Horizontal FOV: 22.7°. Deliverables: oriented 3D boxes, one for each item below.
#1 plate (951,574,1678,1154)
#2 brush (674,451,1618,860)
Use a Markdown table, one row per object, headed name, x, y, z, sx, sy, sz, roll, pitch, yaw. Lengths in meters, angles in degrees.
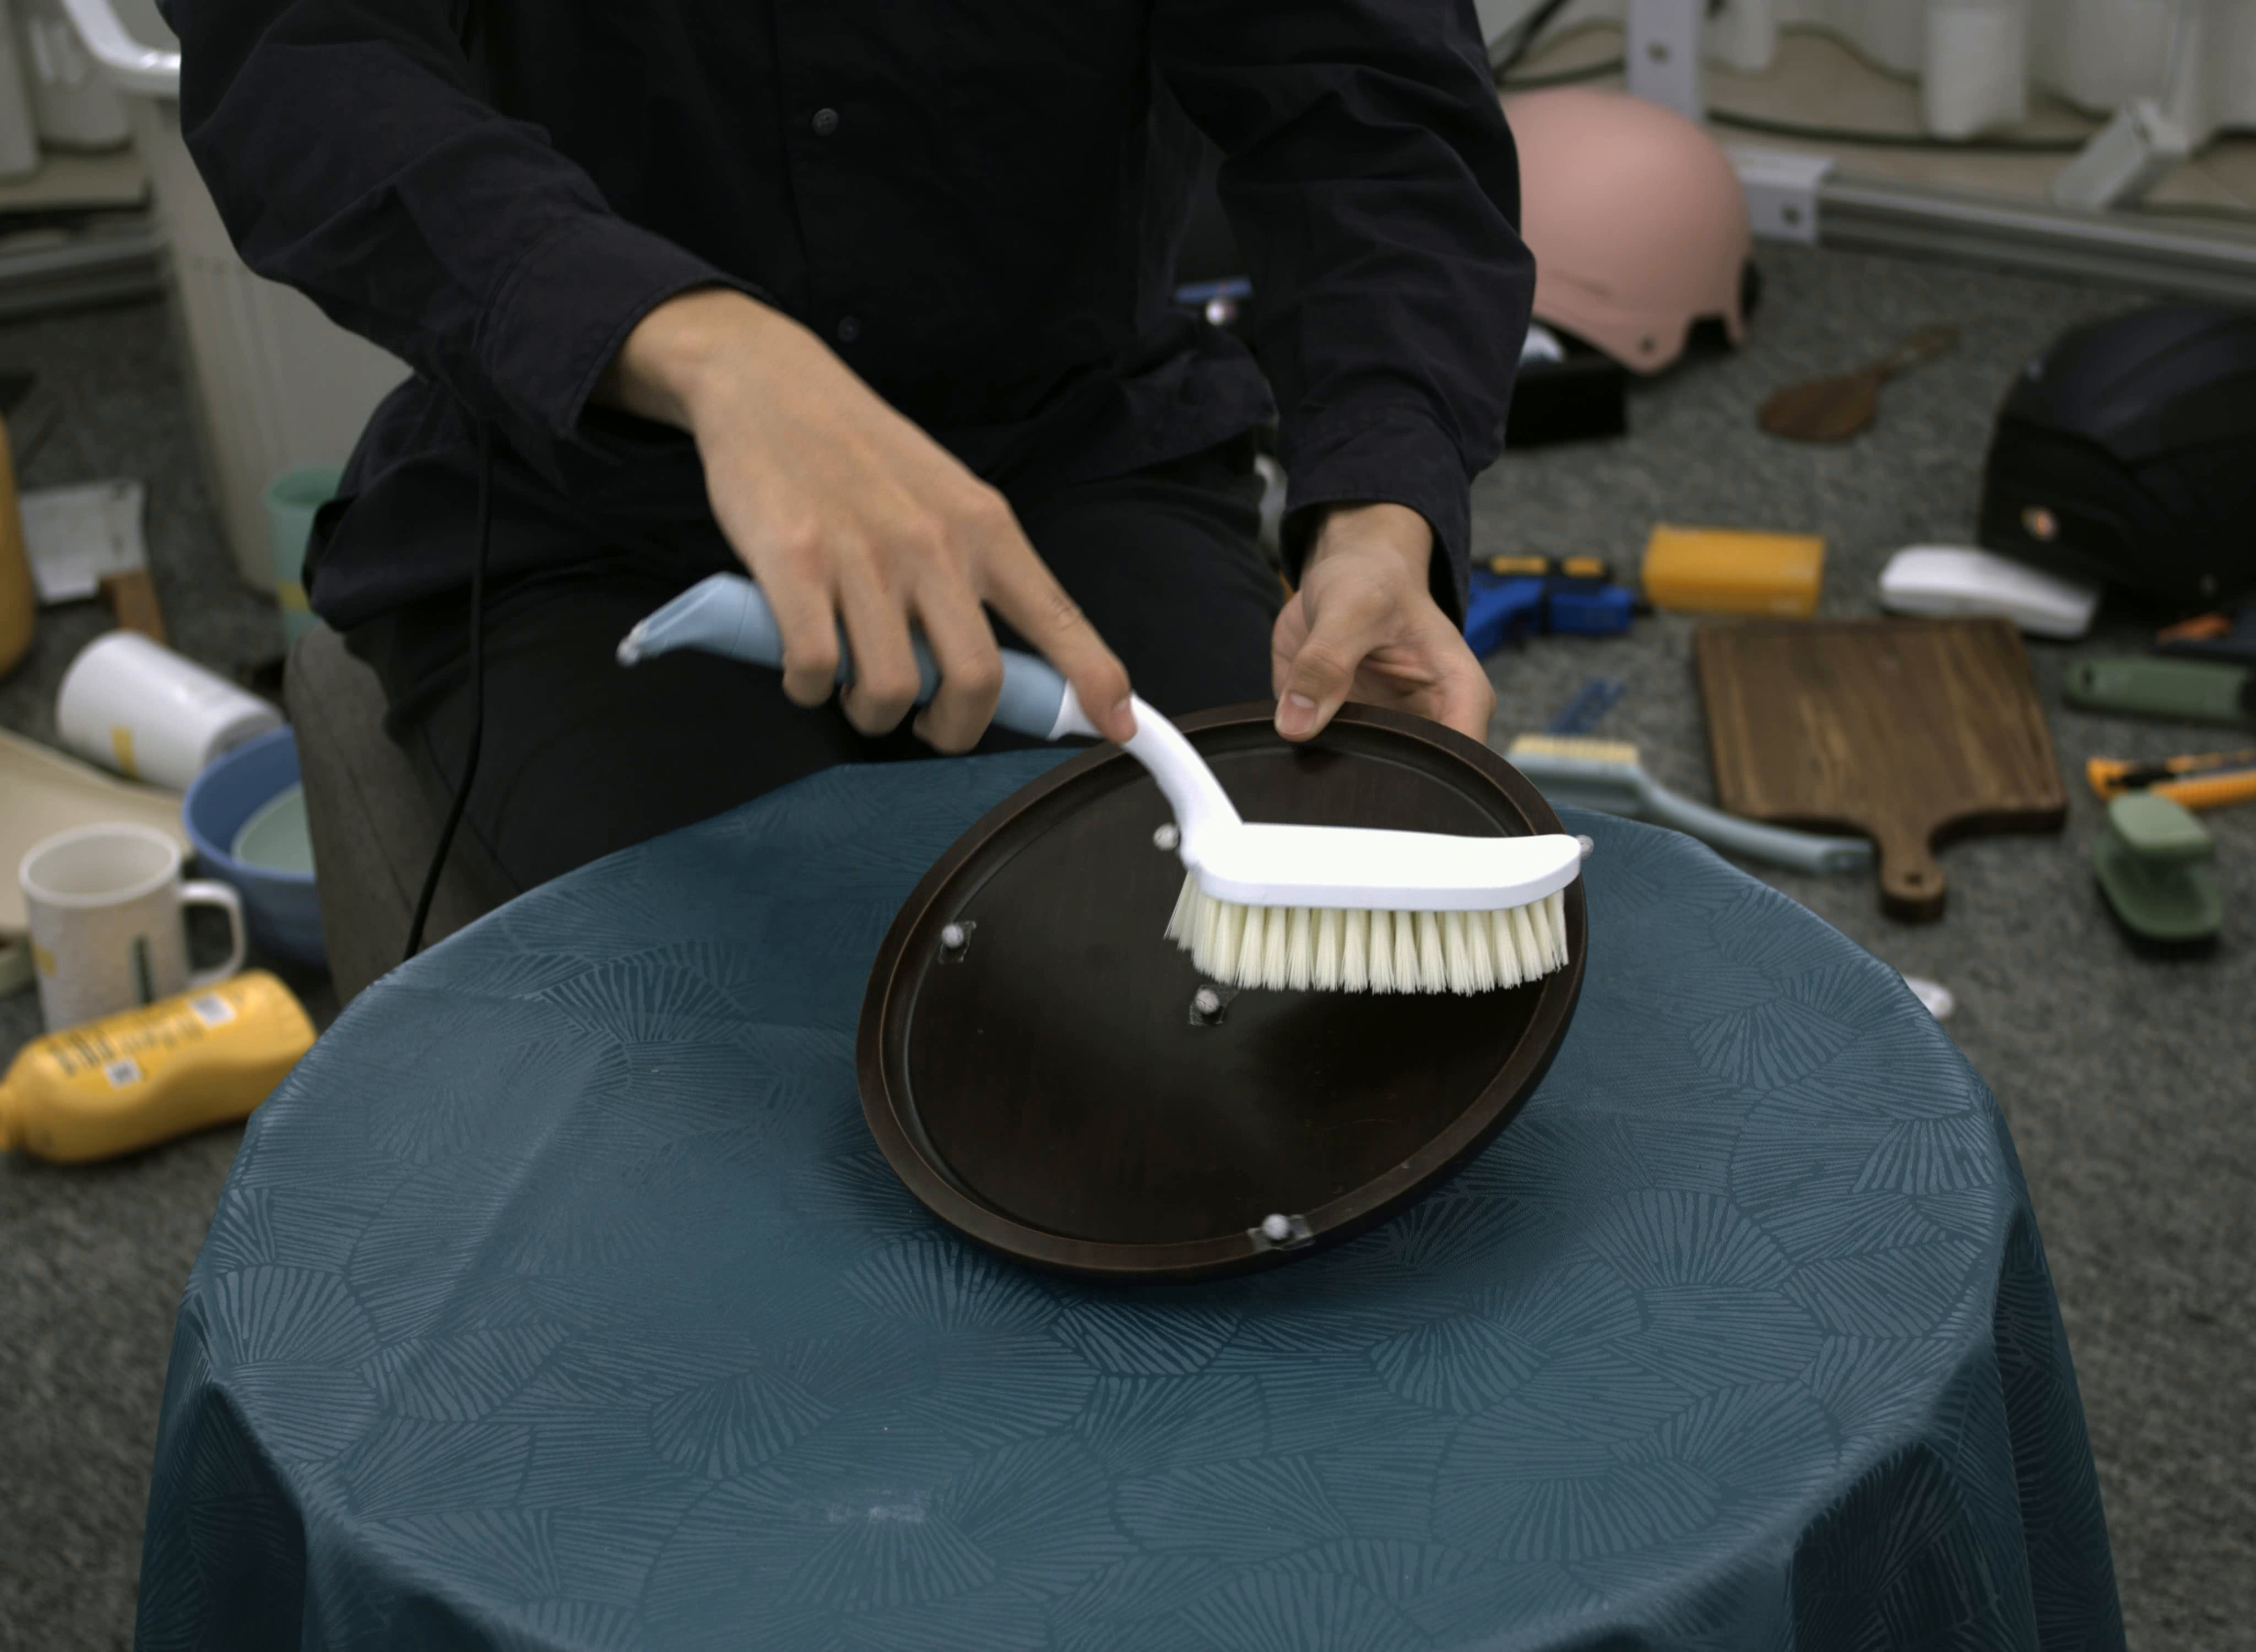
| name | x | y | z | sx | sy | sz | roll | pitch | yaw |
| --- | --- | --- | --- | --- | --- | --- | --- | --- | --- |
| plate | 0.063 | 0.011 | 1.891 | 0.252 | 0.028 | 0.260 | -12 | 43 | 12 |
| brush | 0.002 | -0.037 | 1.824 | 0.324 | 0.082 | 0.086 | 14 | 63 | -13 |
